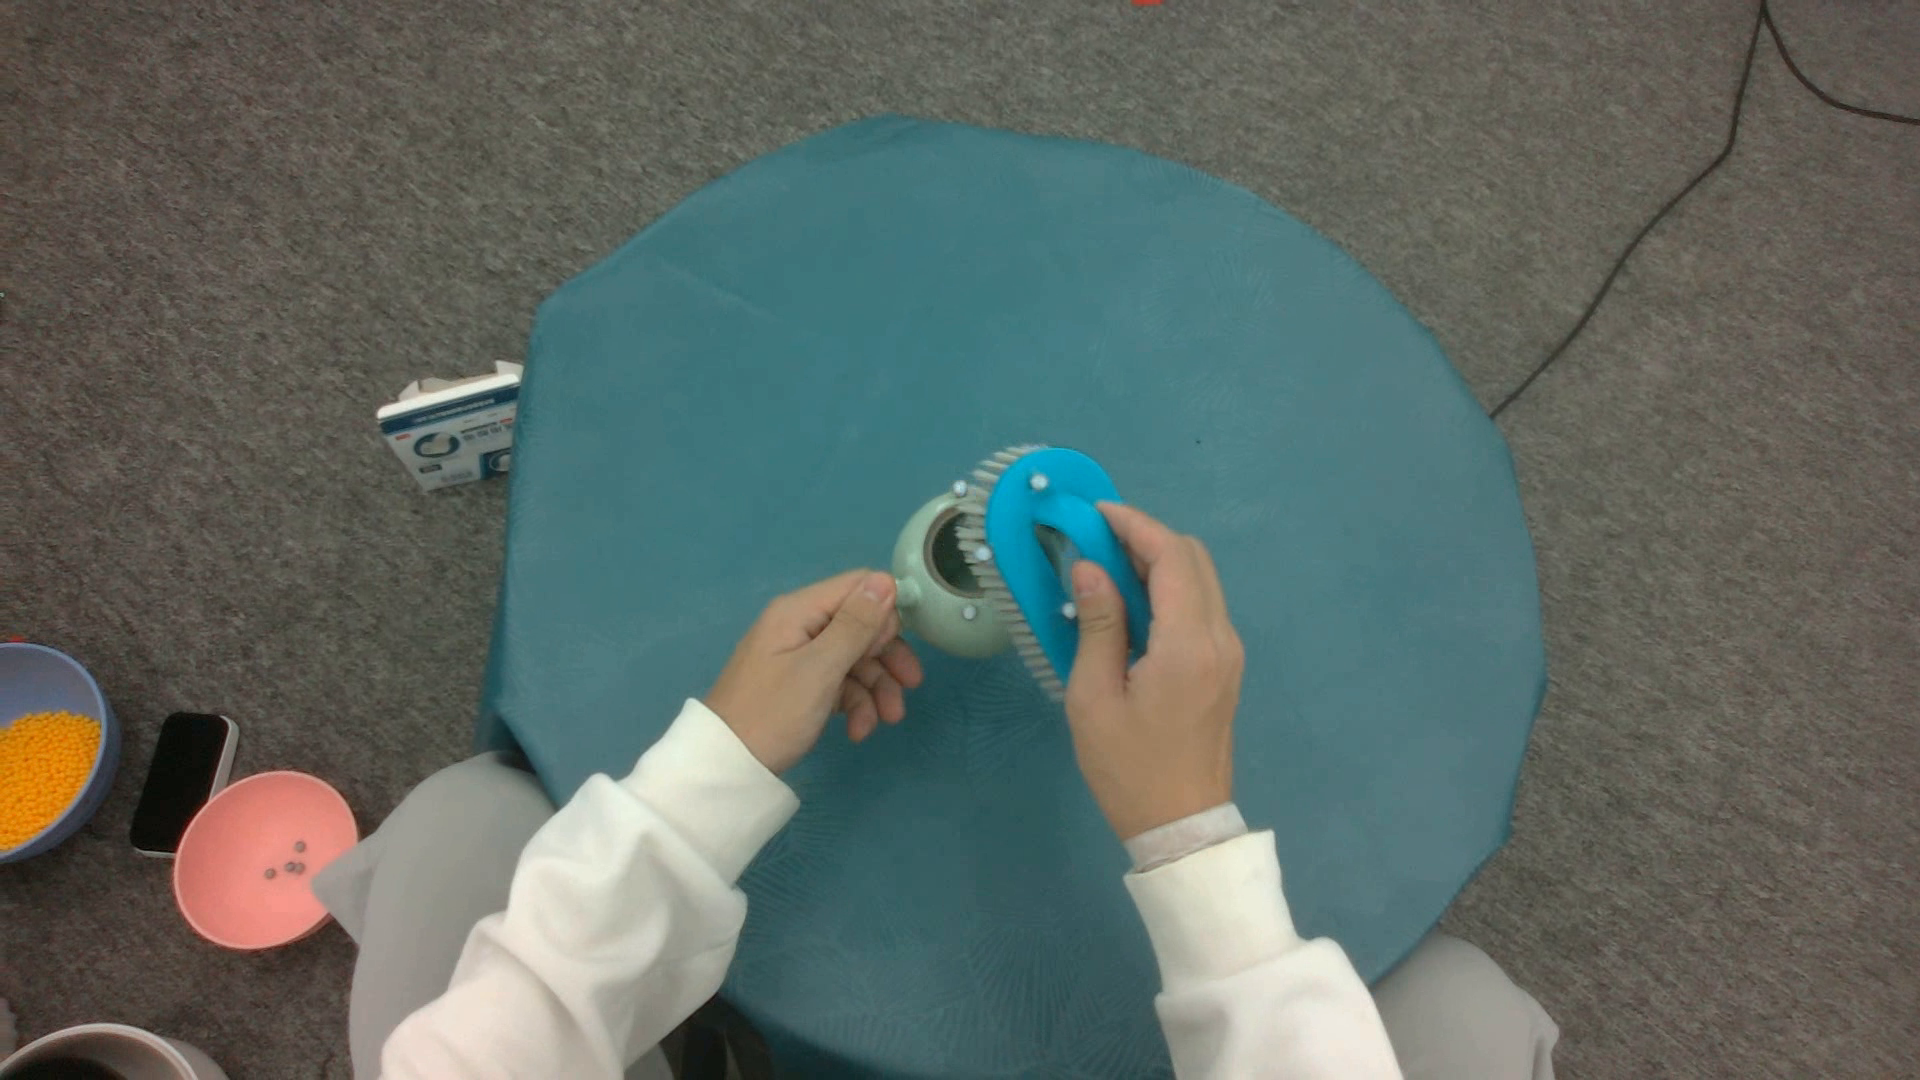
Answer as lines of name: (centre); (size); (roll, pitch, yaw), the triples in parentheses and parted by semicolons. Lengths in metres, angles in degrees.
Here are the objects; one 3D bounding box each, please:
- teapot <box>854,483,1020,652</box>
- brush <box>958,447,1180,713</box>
teapot: (0.009, 0.014, 0.716); (0.144, 0.074, 0.088); (-26, 70, -15)
brush: (0.063, 0.018, 0.661); (0.084, 0.063, 0.141); (-38, 109, -26)
